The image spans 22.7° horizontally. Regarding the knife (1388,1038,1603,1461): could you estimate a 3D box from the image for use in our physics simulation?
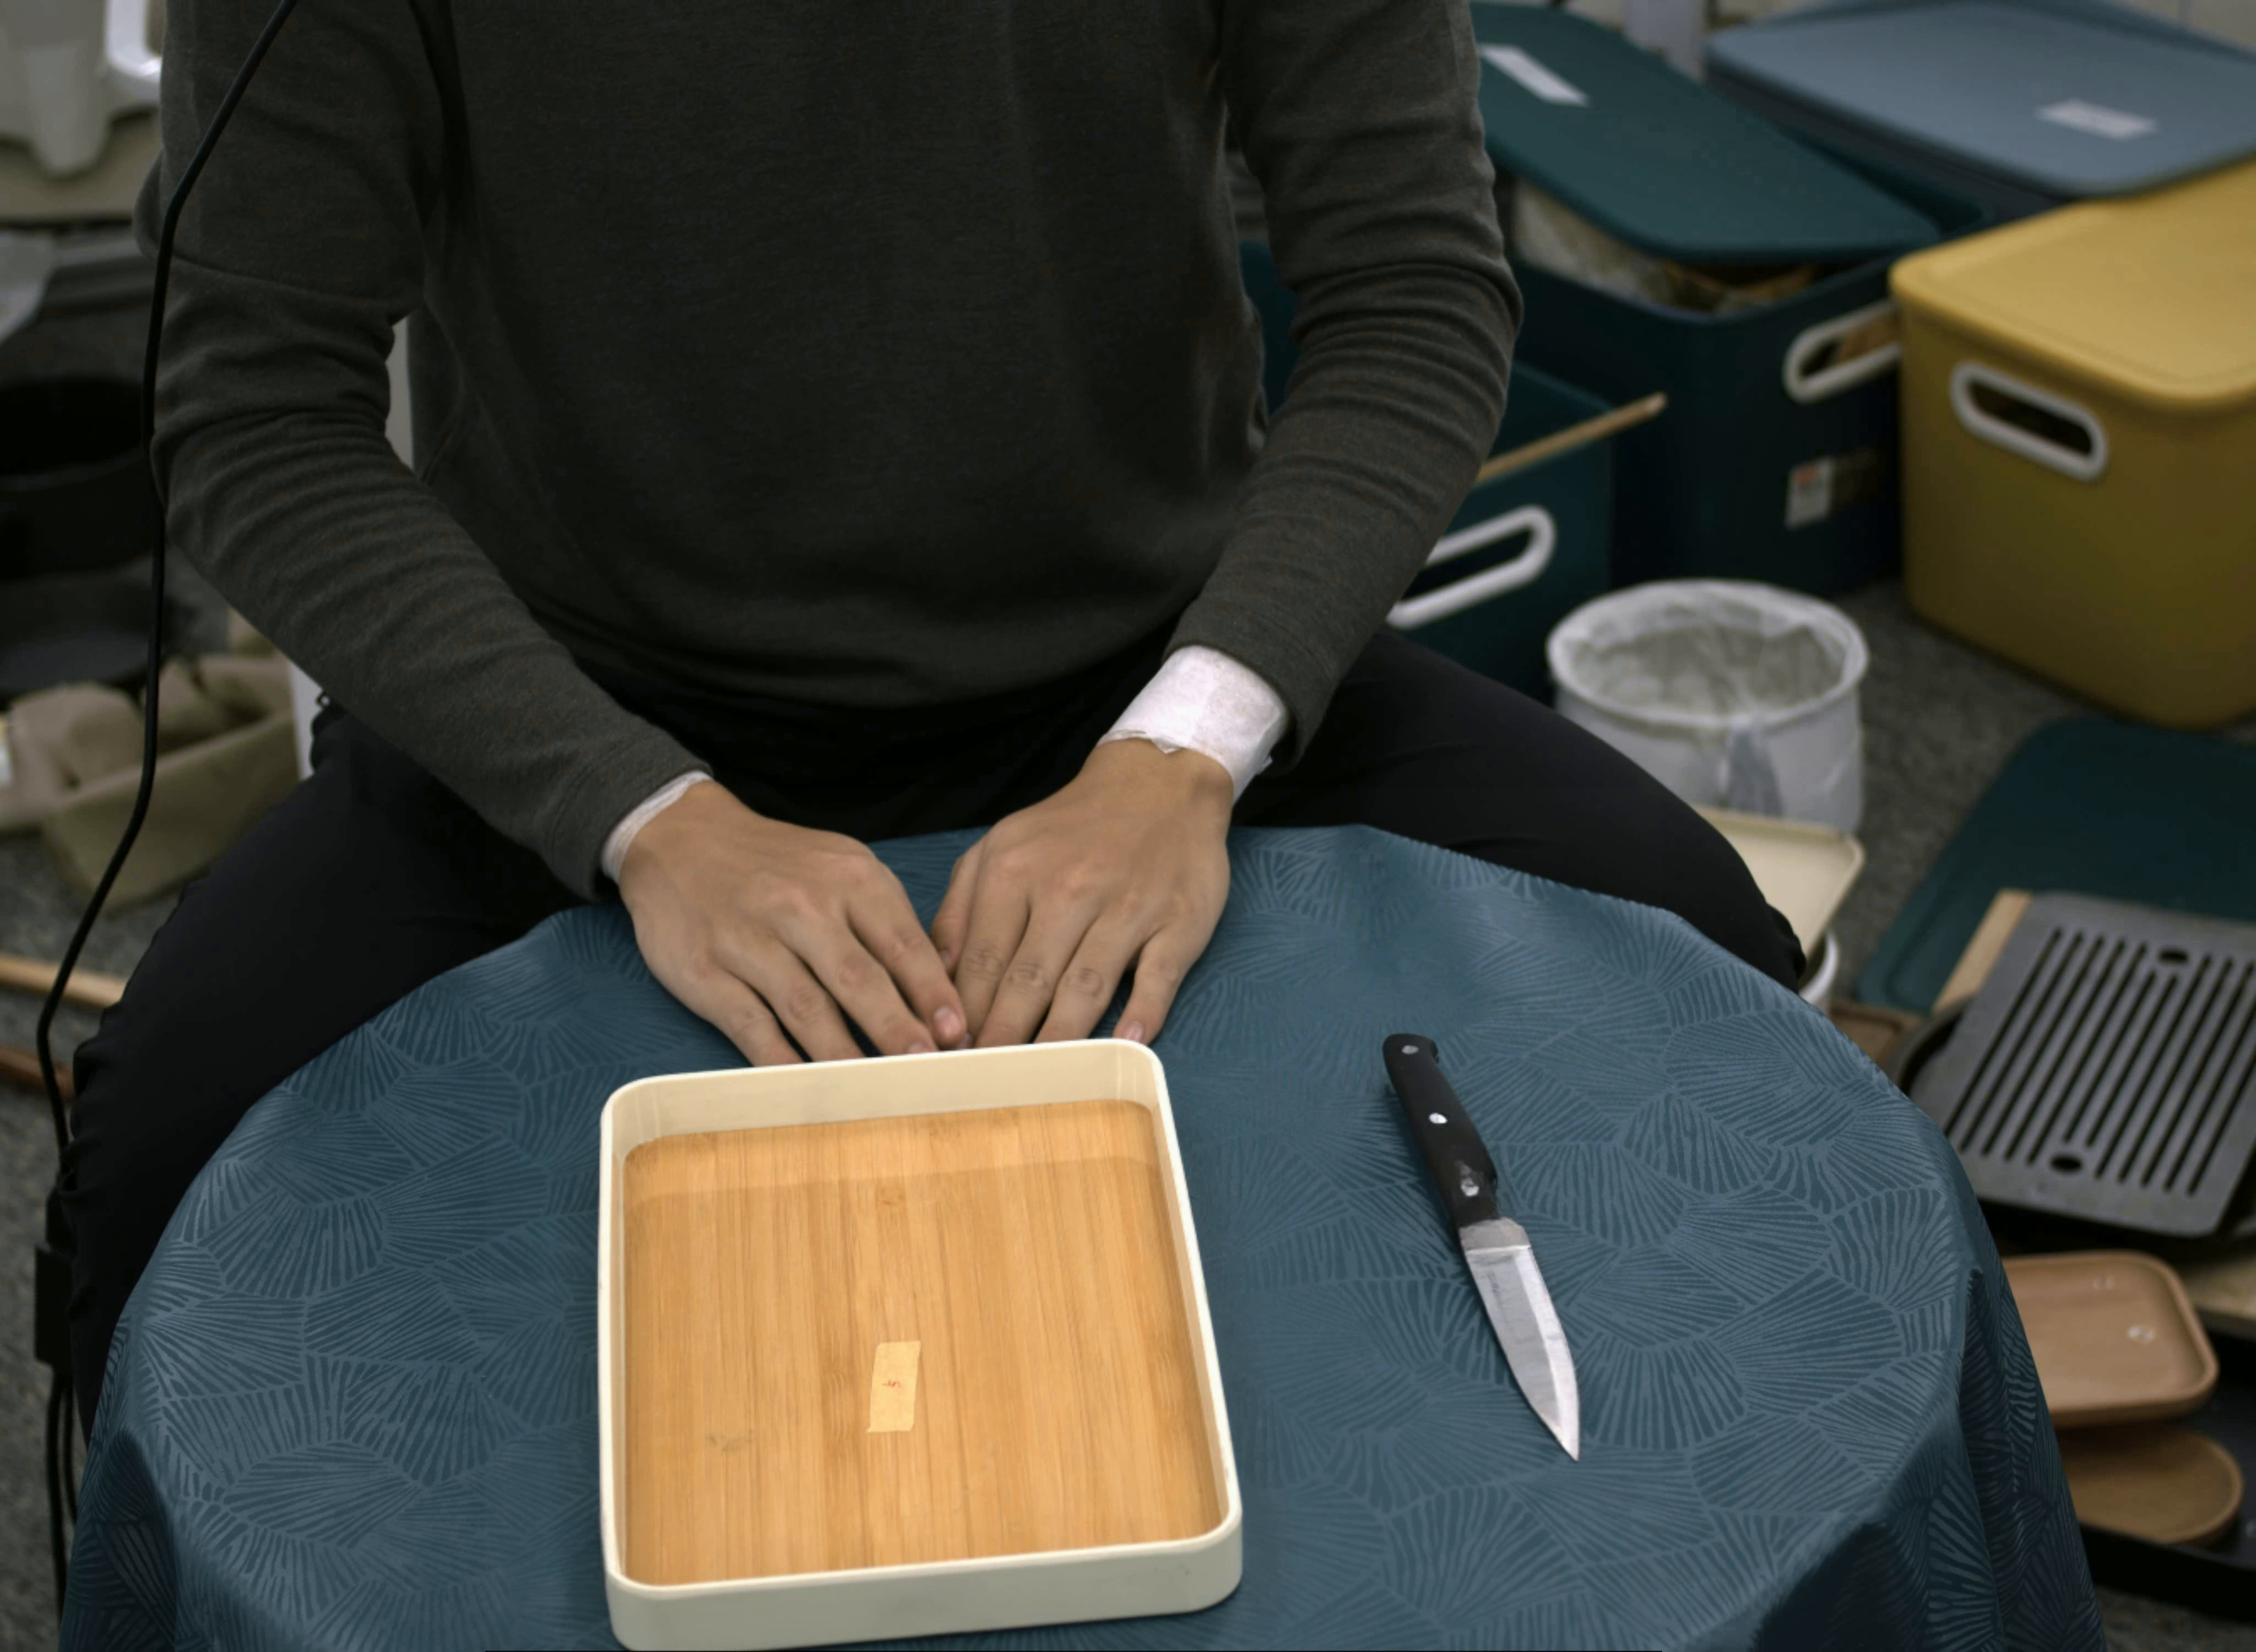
[{"bbox_3d":[0.117,0.135,1.811,0.024,0.016,0.241,-9,30,-7],"label":"knife"}]

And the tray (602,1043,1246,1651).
[{"bbox_3d":[-0.070,0.159,1.768,0.191,0.027,0.304,-4,27,-3],"label":"tray"}]
